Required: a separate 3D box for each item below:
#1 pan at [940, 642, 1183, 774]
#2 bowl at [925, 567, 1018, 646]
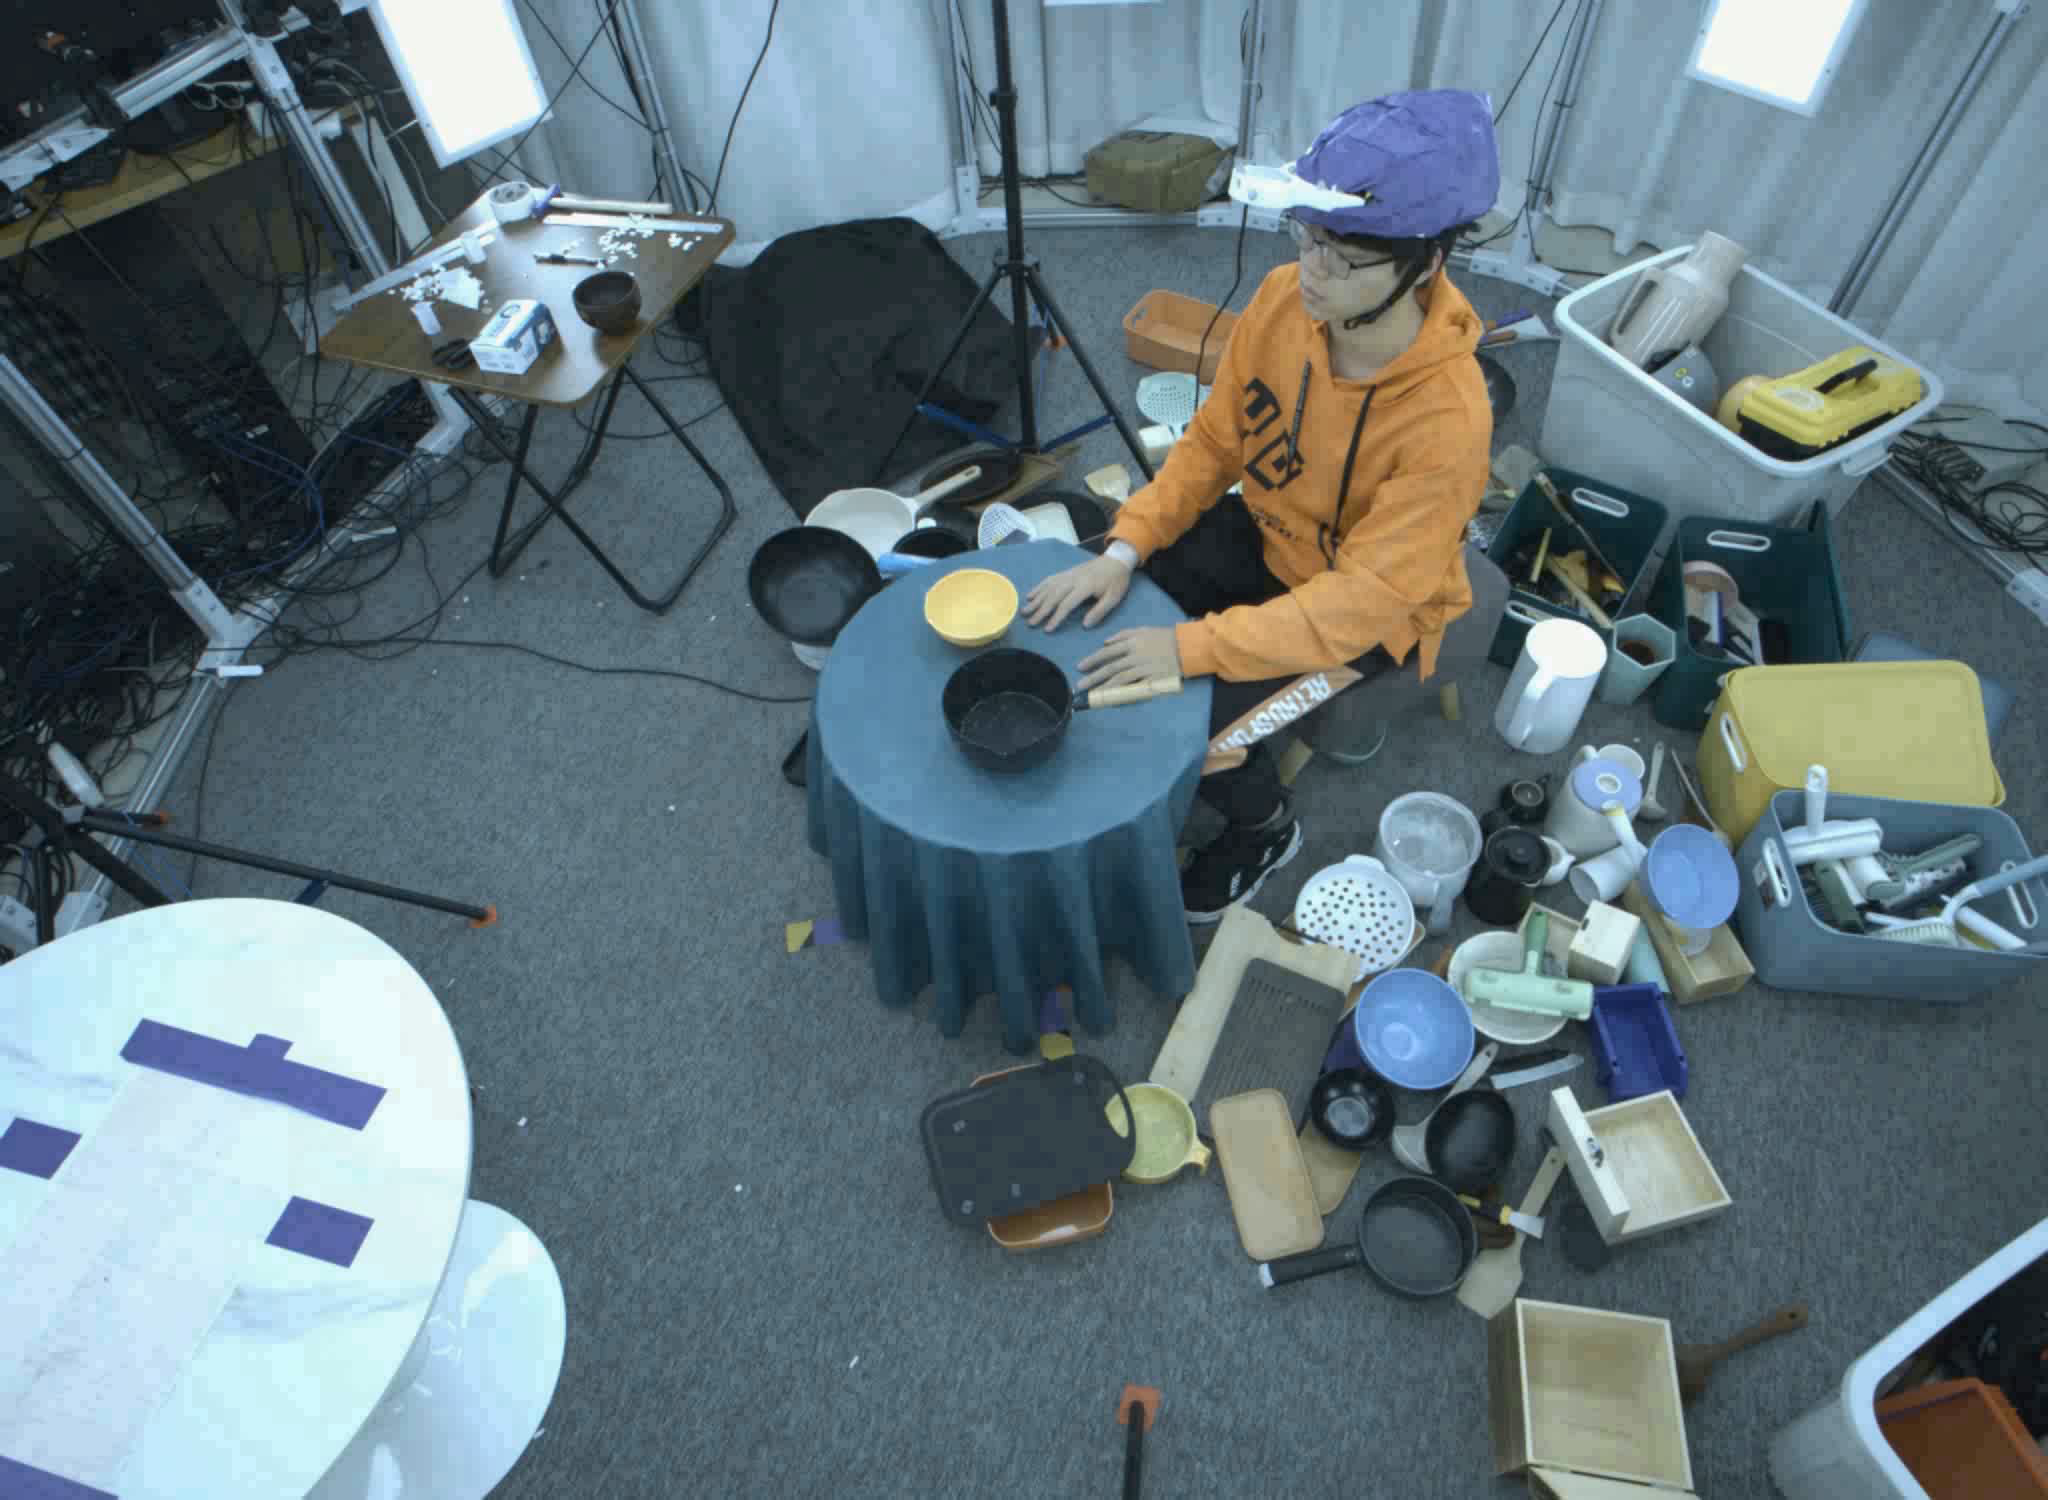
[{"bbox_3d":[0.055,-0.061,1.762,0.342,0.109,0.205,-3,53,2],"label":"pan"},{"bbox_3d":[-0.079,-0.211,1.903,0.145,0.061,0.144,0,56,2],"label":"bowl"}]
